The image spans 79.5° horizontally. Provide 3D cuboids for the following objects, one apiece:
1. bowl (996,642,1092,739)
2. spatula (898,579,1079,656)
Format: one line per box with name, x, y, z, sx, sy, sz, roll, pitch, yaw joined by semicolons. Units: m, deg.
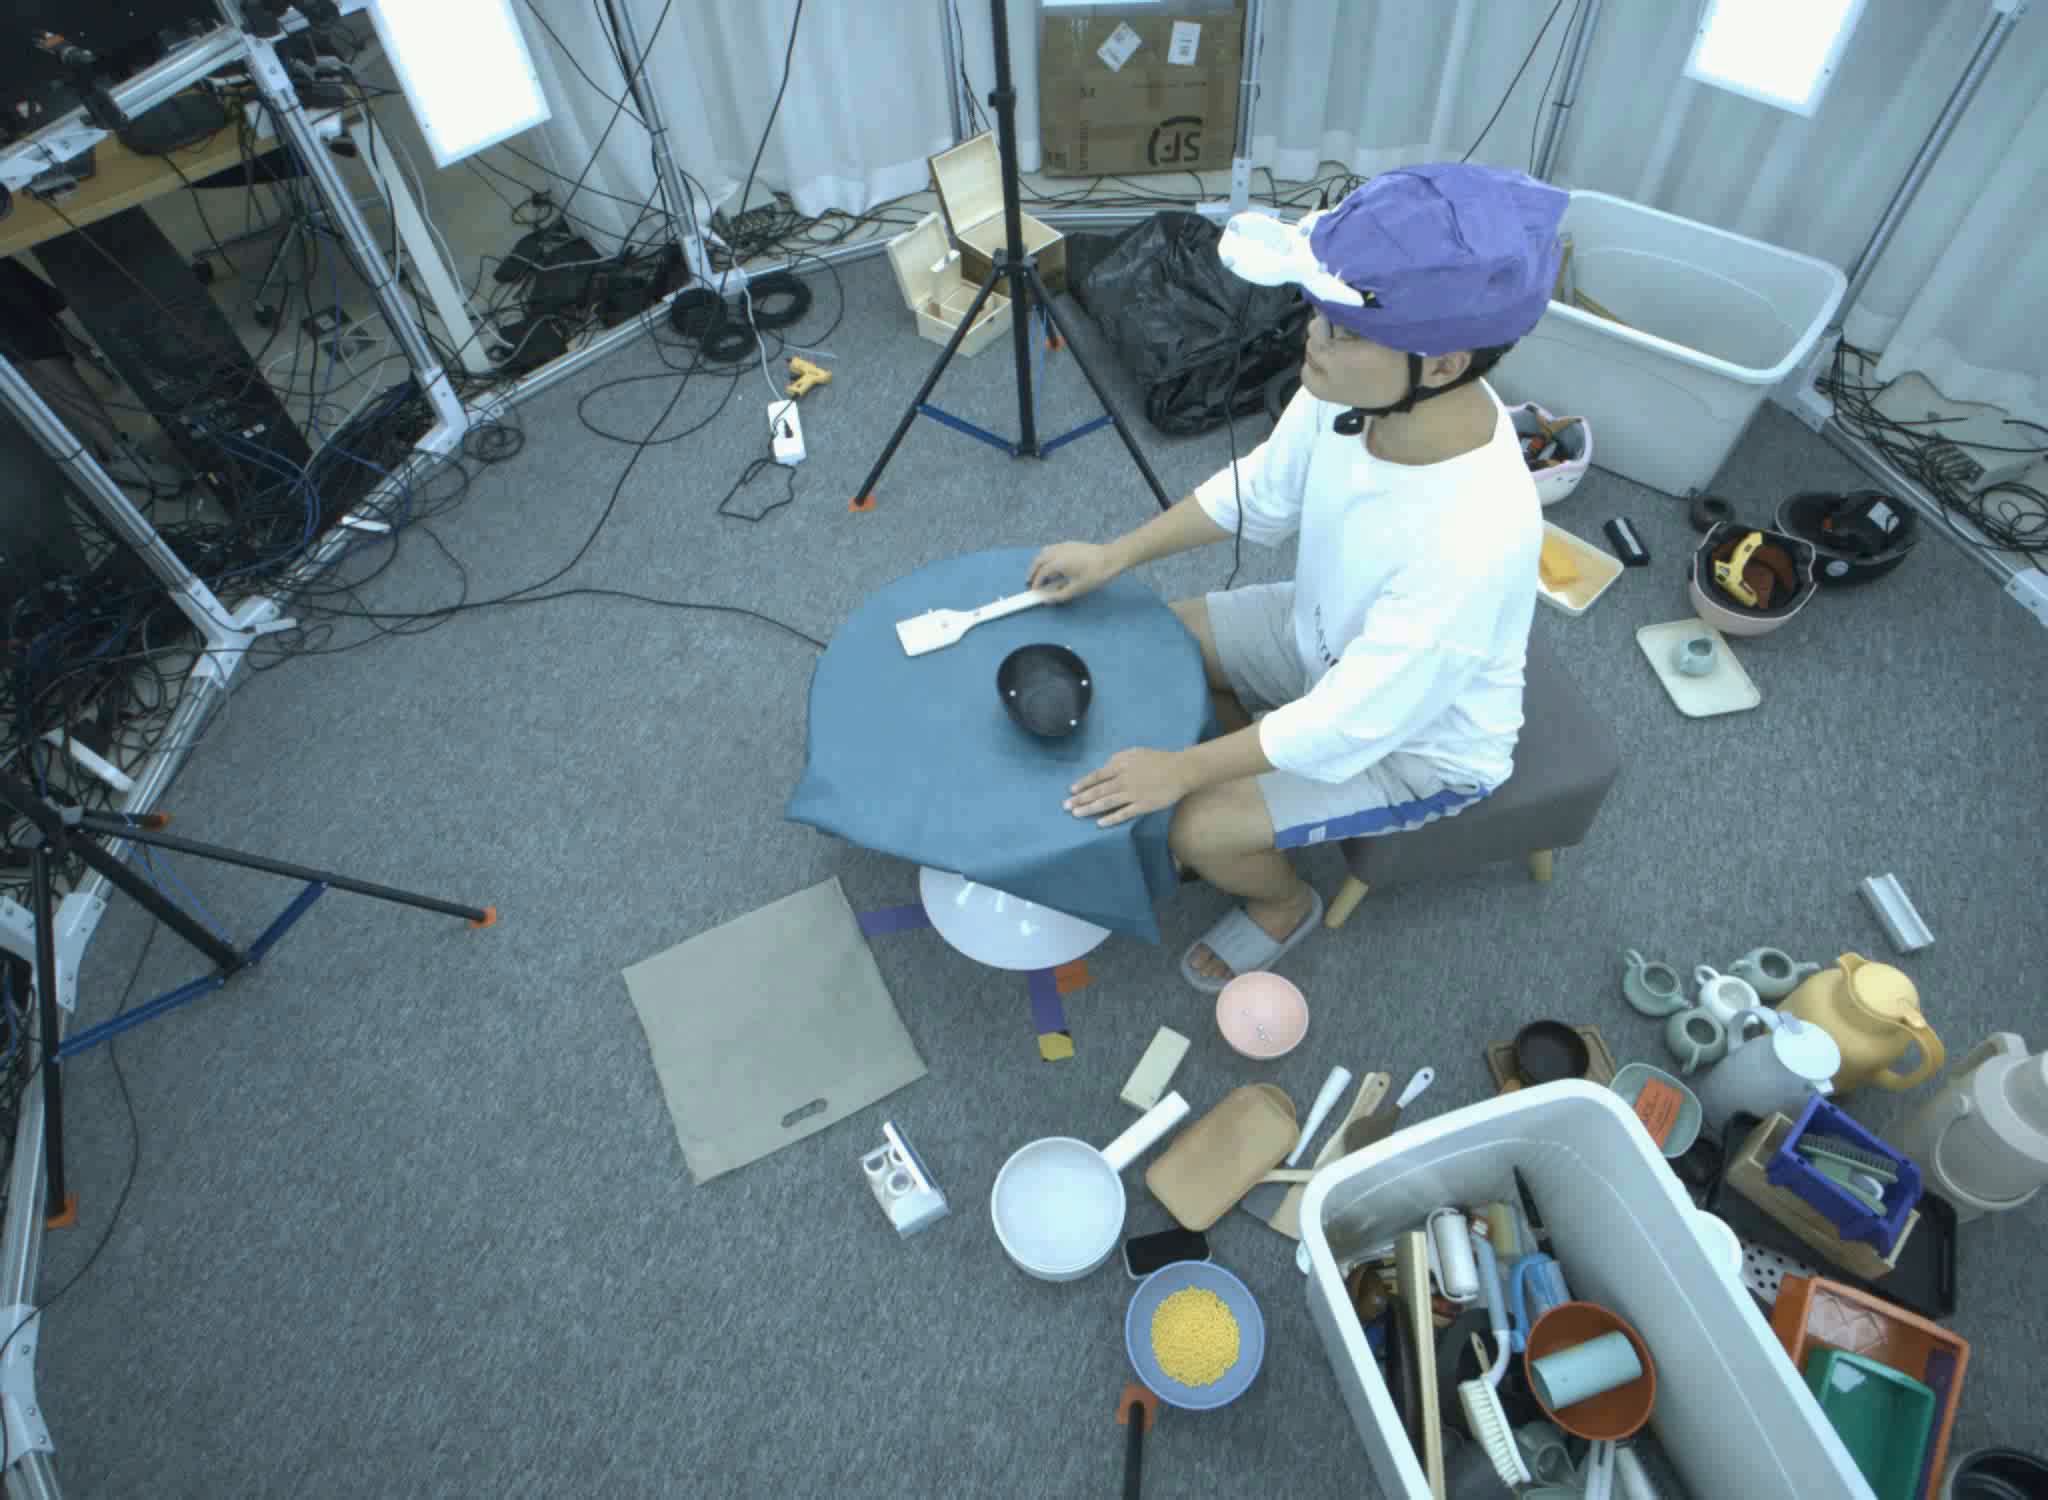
bowl;0.031;-0.079;1.801;0.138;0.067;0.167;-16;57;-10
spatula;-0.052;-0.218;1.933;0.295;0.011;0.071;-19;58;-10
